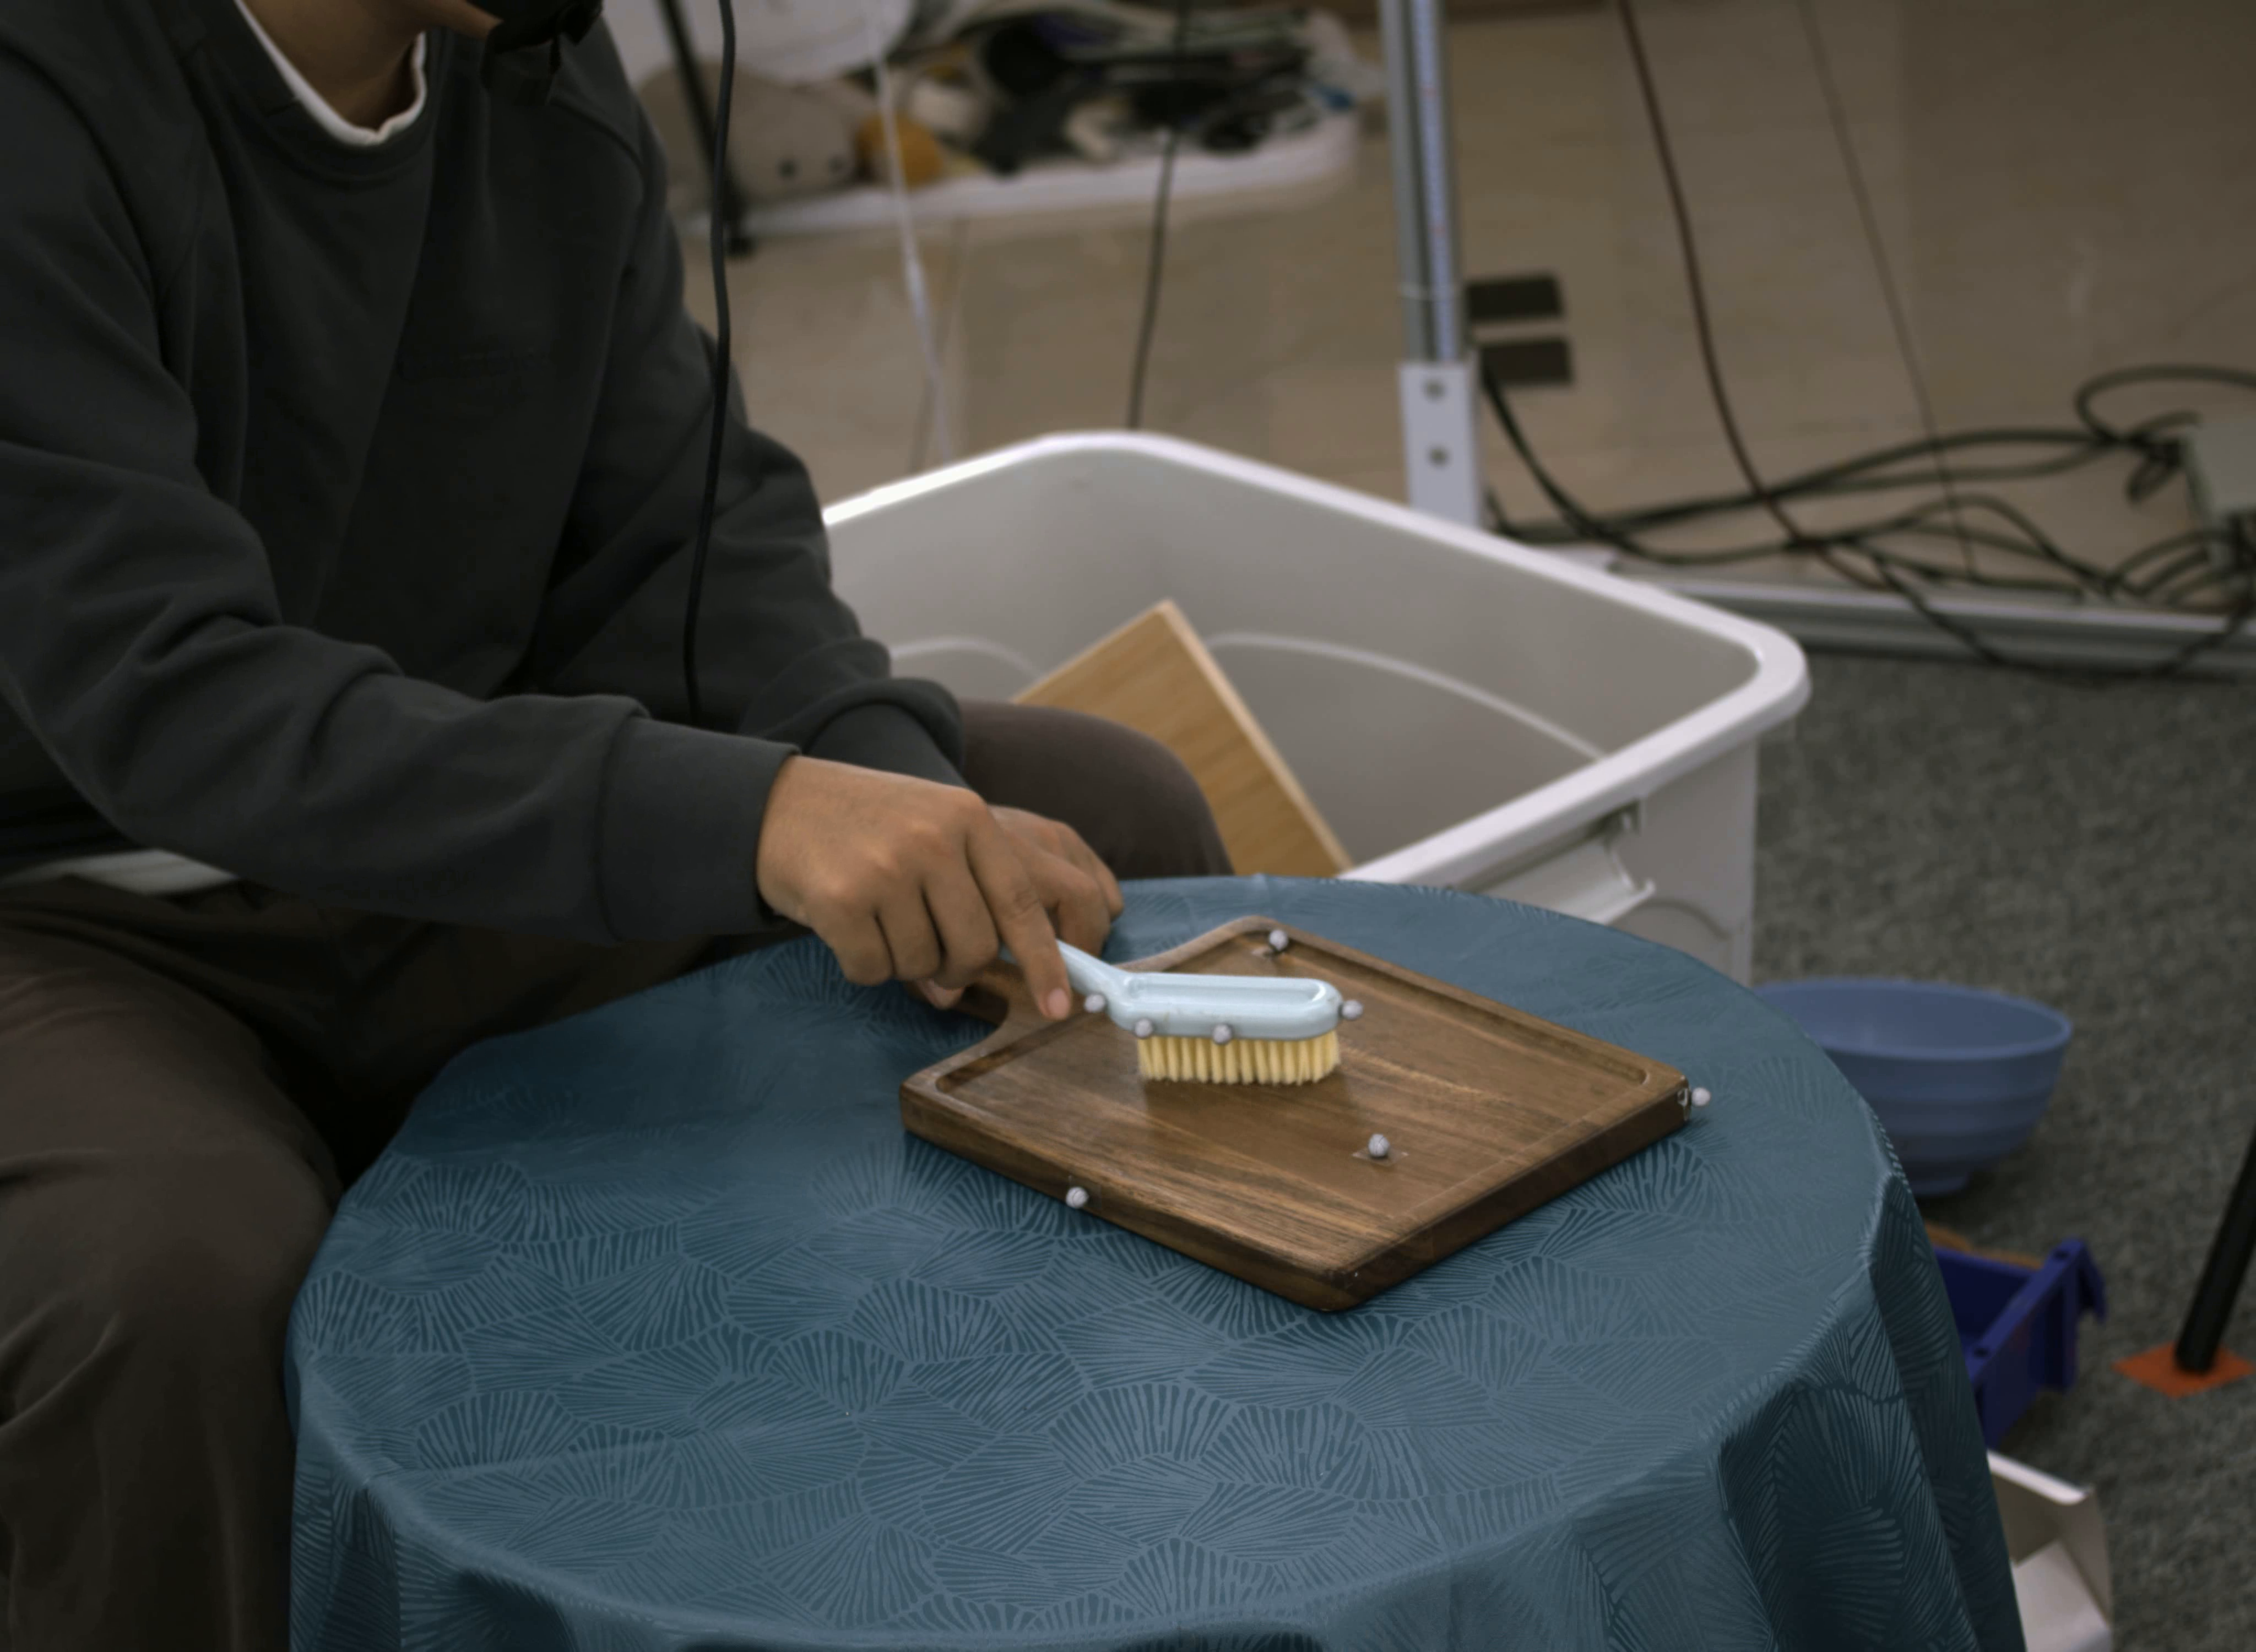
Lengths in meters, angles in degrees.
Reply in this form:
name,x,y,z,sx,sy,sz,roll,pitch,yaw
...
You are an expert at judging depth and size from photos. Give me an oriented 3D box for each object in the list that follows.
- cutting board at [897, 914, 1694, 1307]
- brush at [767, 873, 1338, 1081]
name,x,y,z,sx,sy,sz,roll,pitch,yaw
cutting board,0.031,0.093,2.217,0.199,0.023,0.349,-25,30,-35
brush,-0.031,0.060,2.203,0.228,0.050,0.037,14,29,8
